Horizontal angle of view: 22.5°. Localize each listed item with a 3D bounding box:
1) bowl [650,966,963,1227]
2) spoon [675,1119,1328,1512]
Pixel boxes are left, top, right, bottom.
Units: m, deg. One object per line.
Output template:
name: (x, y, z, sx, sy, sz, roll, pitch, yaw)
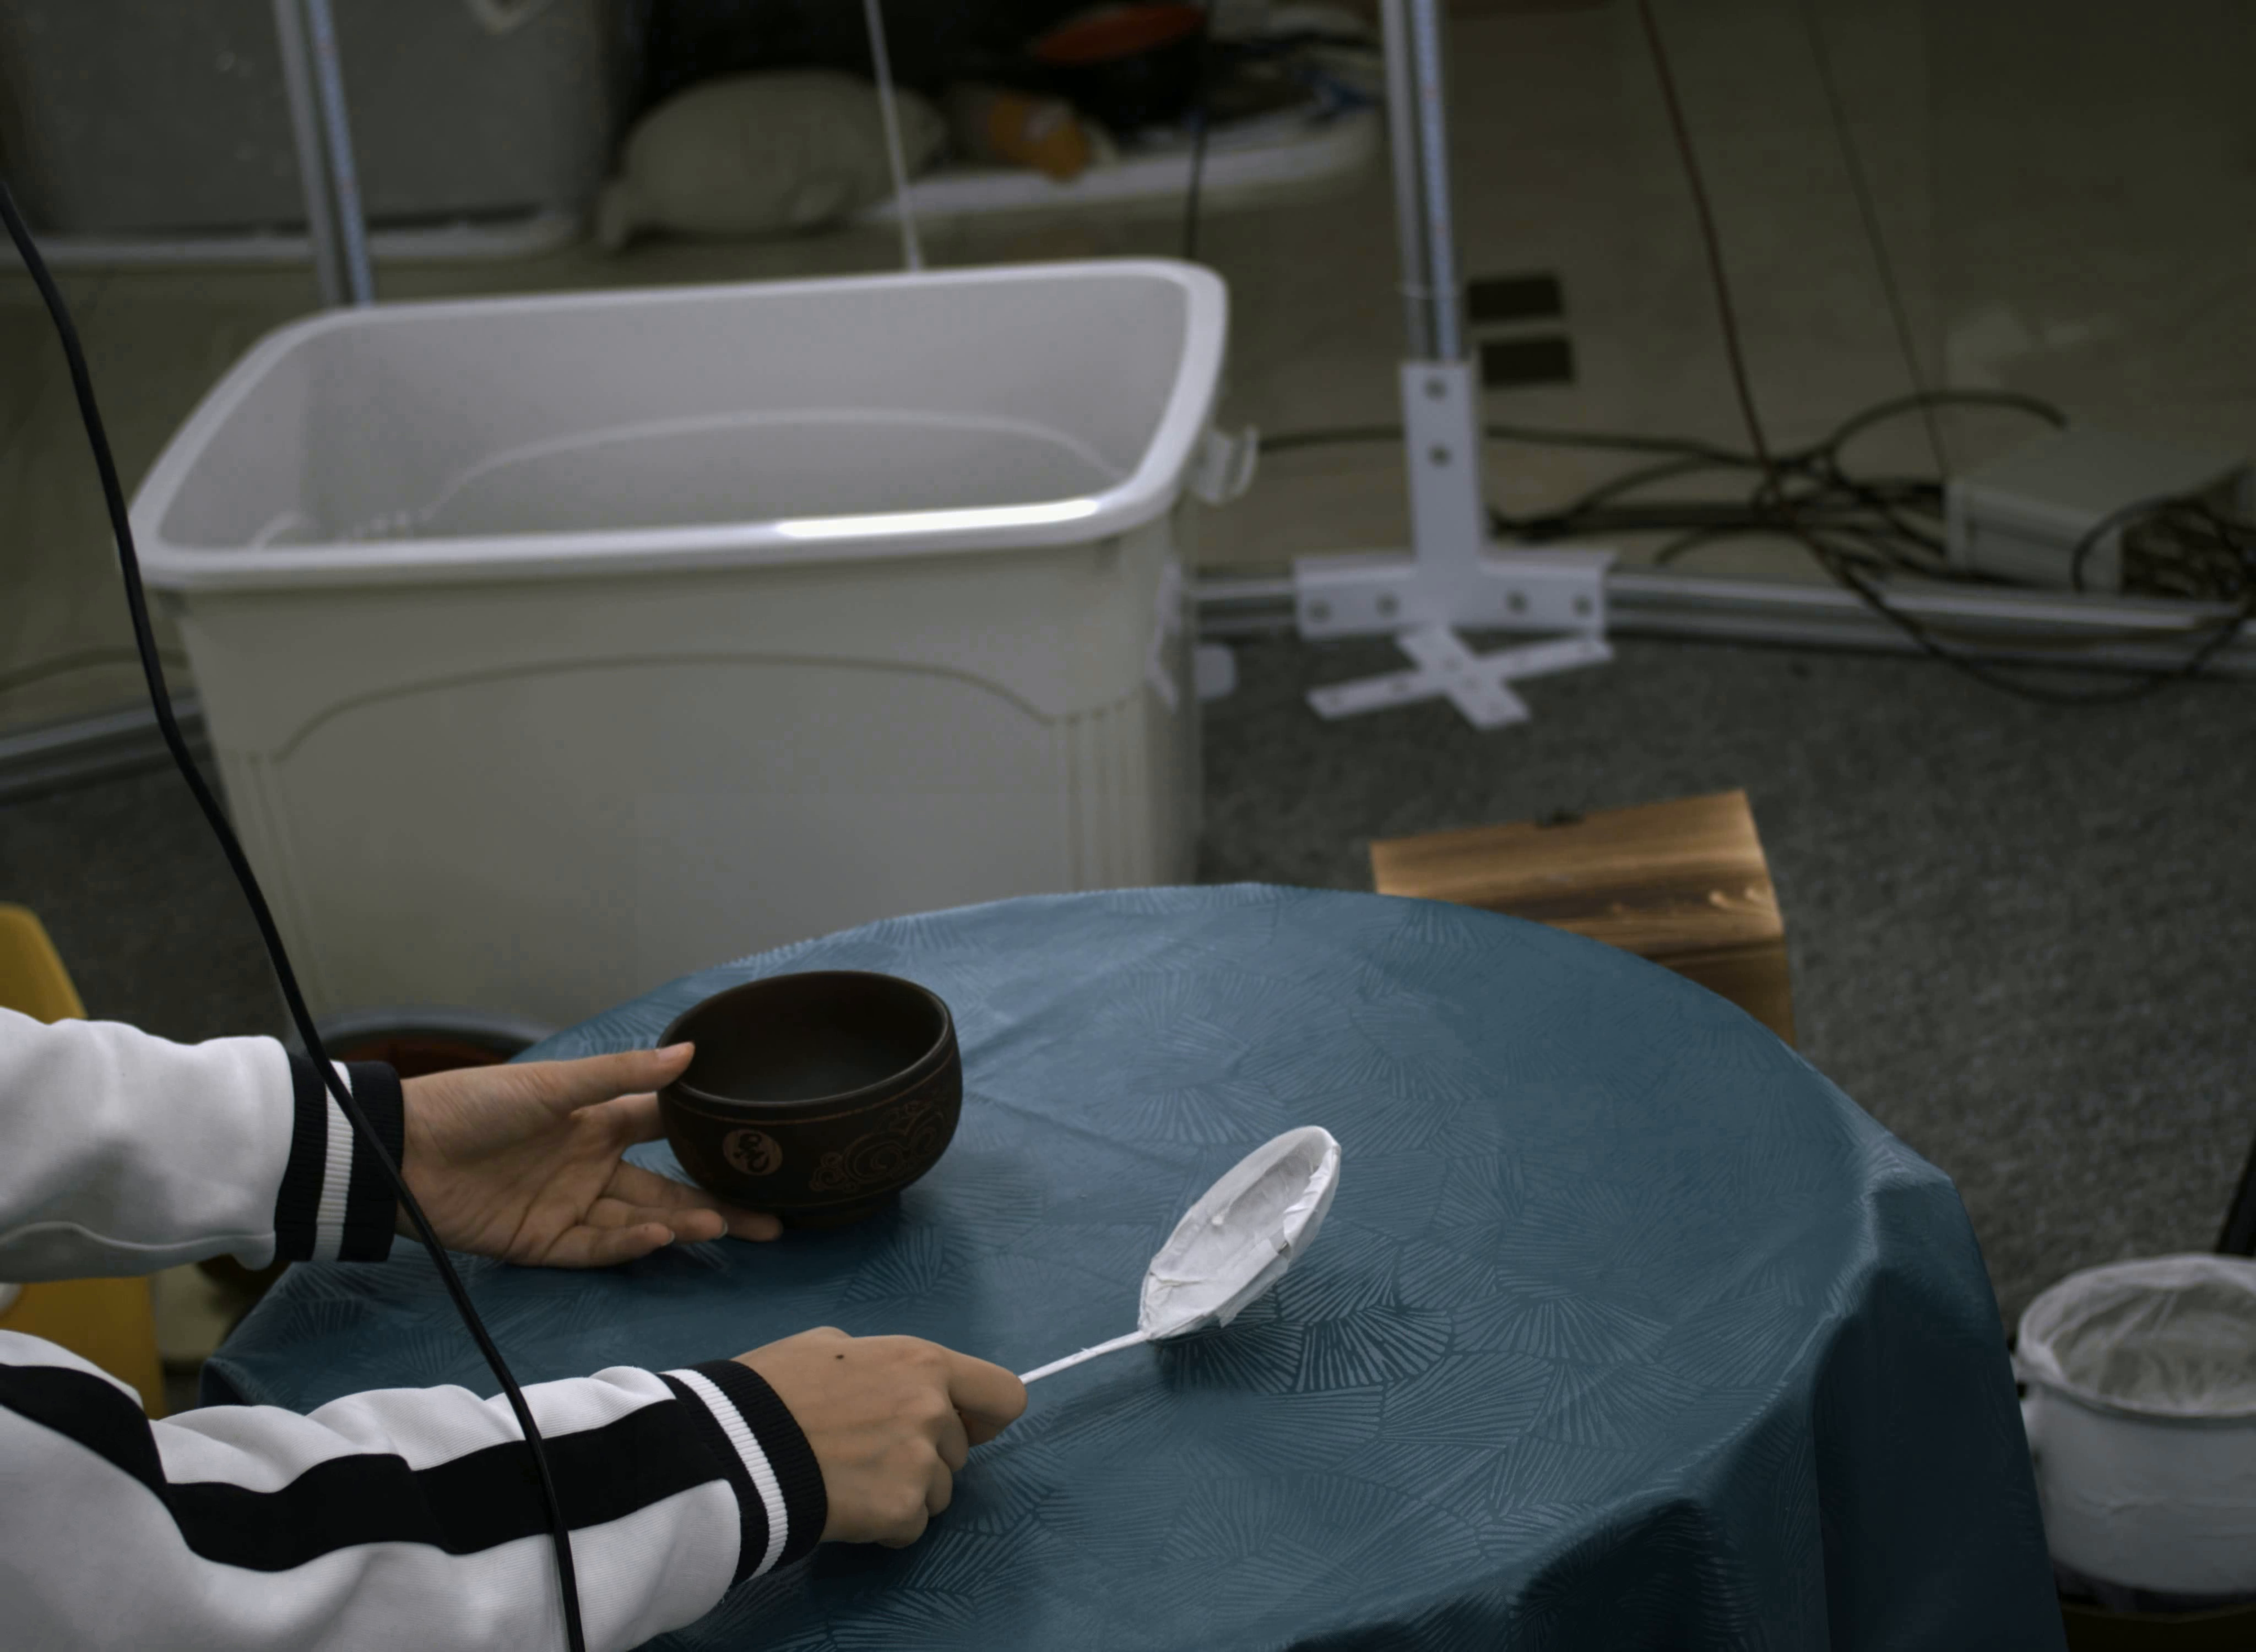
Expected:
bowl: (-0.120, 0.109, 2.155, 0.118, 0.071, 0.116, -6, 25, 3)
spoon: (-0.046, 0.171, 1.998, 0.276, 0.059, 0.101, -17, -1, -27)
